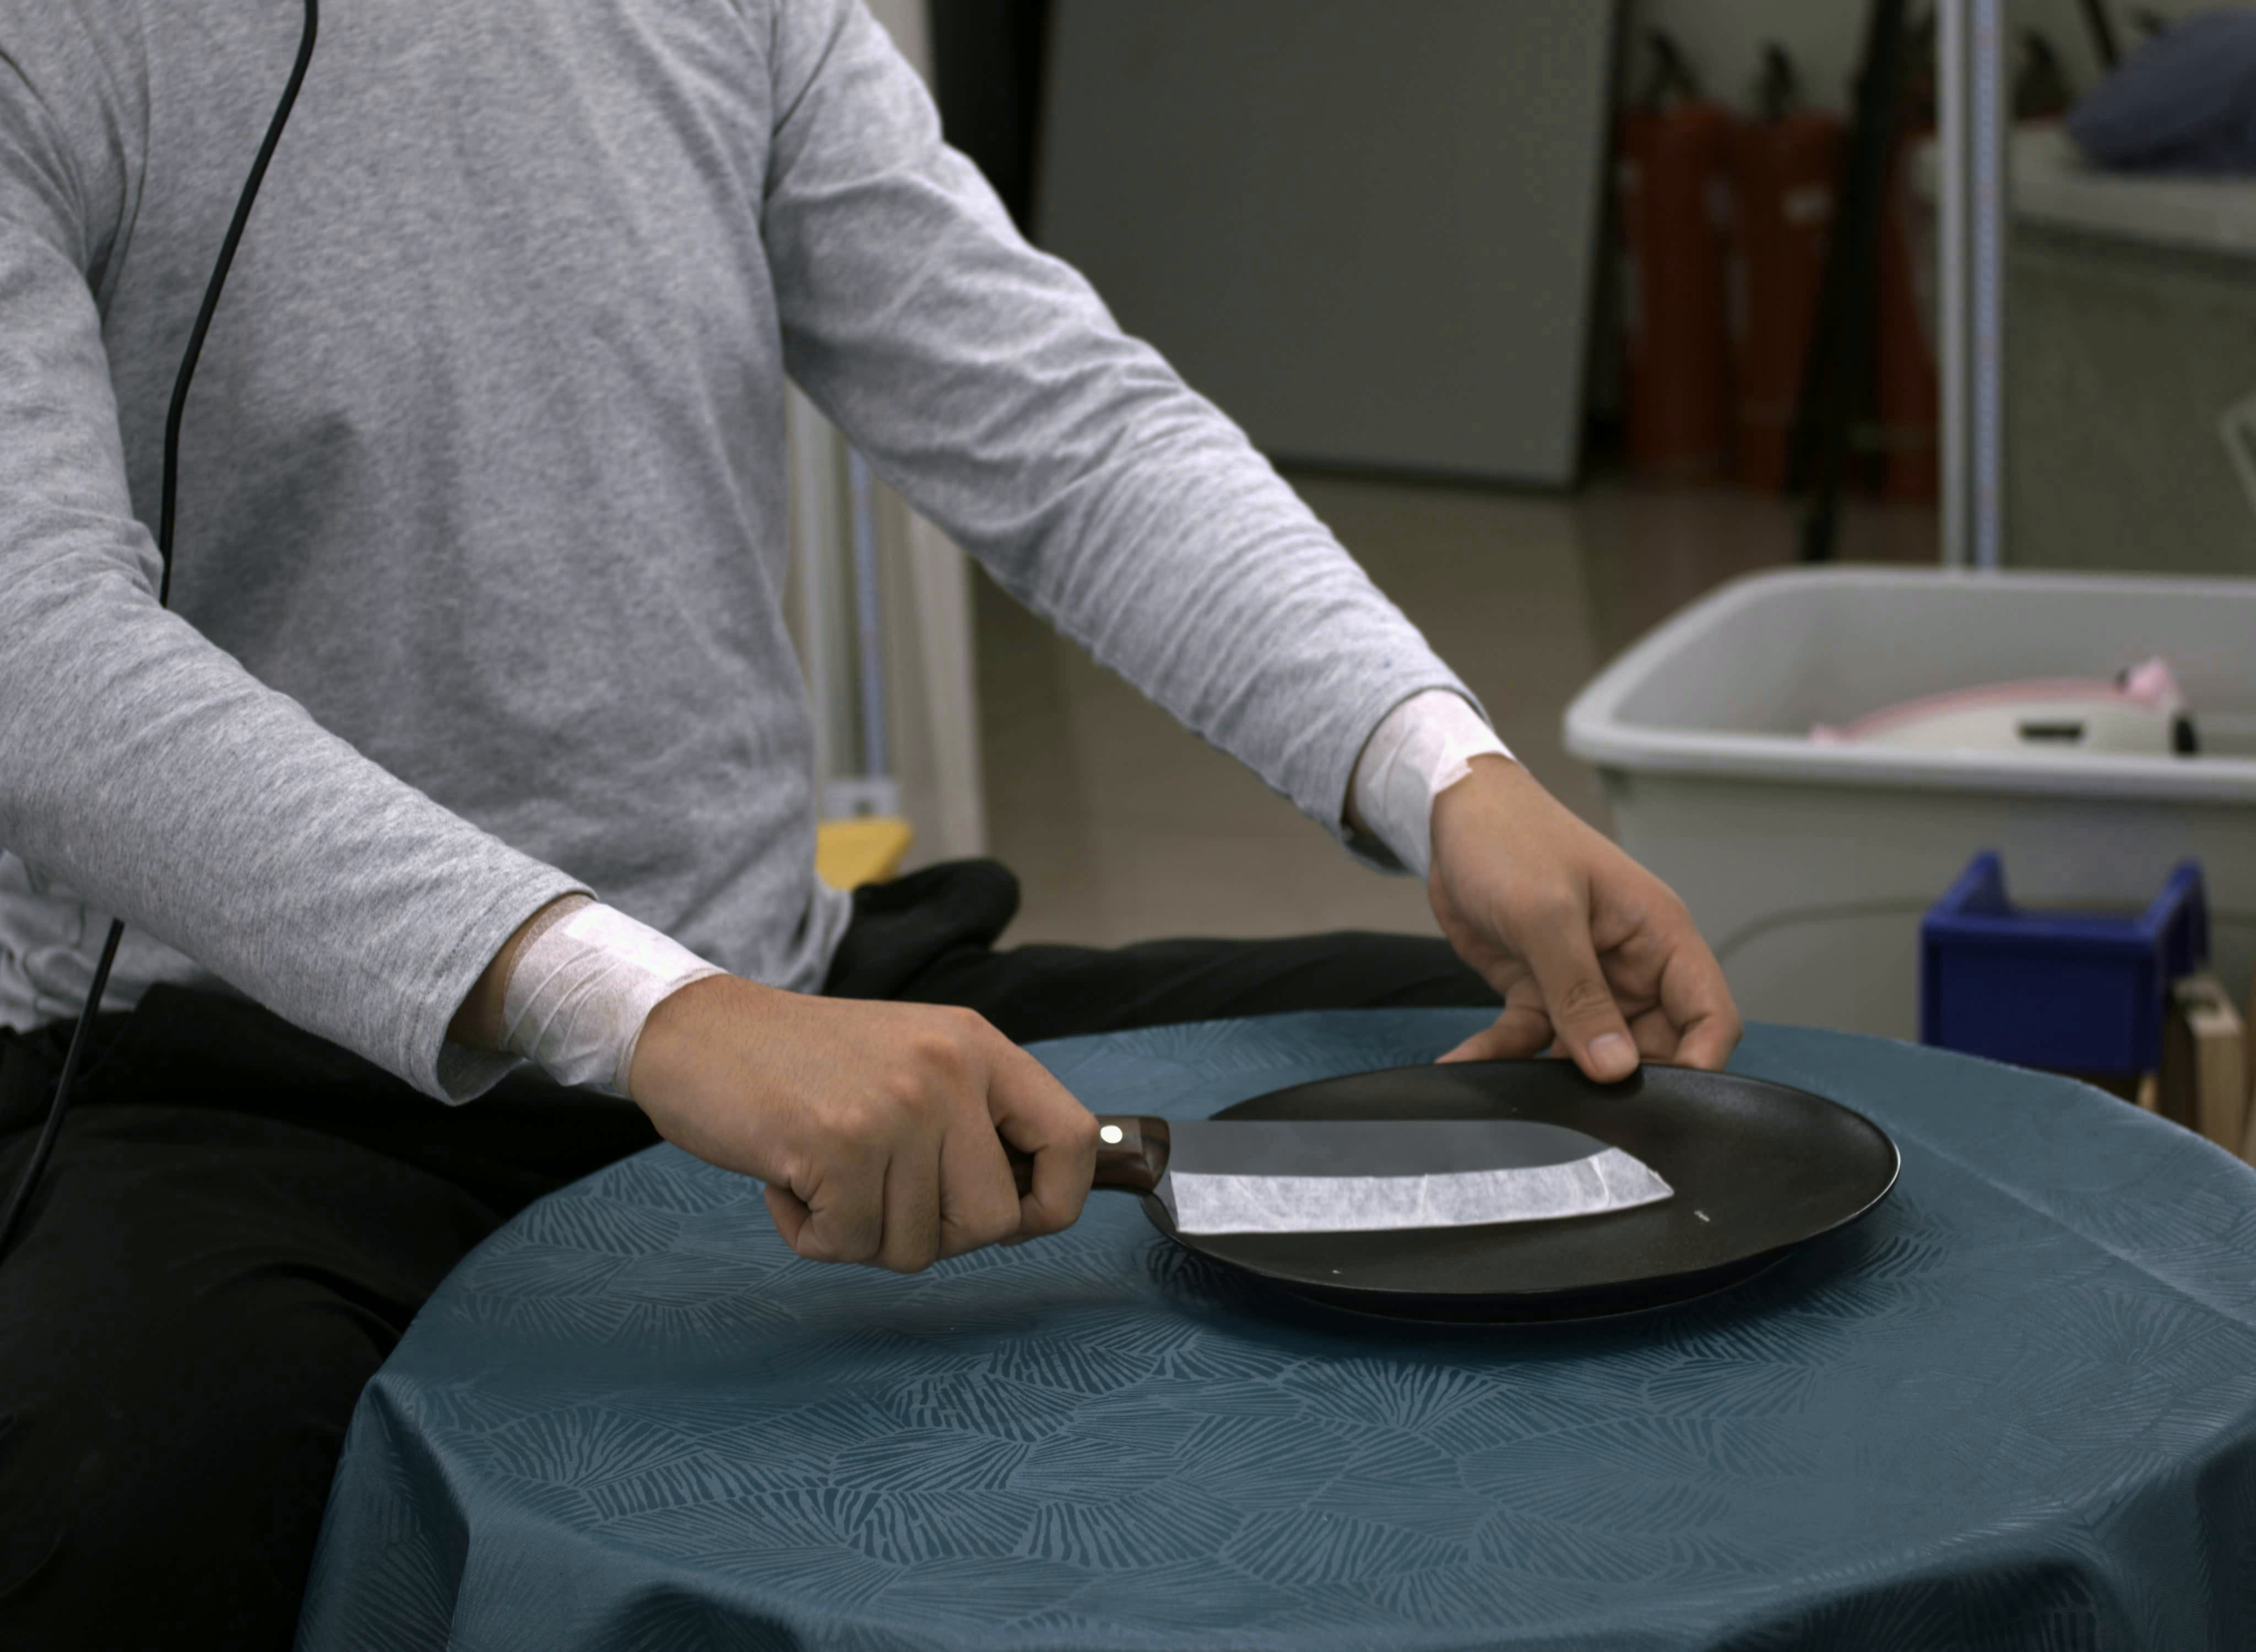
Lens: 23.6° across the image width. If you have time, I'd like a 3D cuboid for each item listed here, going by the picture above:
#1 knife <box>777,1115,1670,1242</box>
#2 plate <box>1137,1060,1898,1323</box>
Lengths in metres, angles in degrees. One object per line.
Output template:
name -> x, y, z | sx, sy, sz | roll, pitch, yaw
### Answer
knife -> 0.033, 0.108, 1.670 | 0.283, 0.020, 0.051 | 2, 50, -12
plate -> 0.123, 0.118, 1.704 | 0.241, 0.024, 0.245 | -4, 13, 0
